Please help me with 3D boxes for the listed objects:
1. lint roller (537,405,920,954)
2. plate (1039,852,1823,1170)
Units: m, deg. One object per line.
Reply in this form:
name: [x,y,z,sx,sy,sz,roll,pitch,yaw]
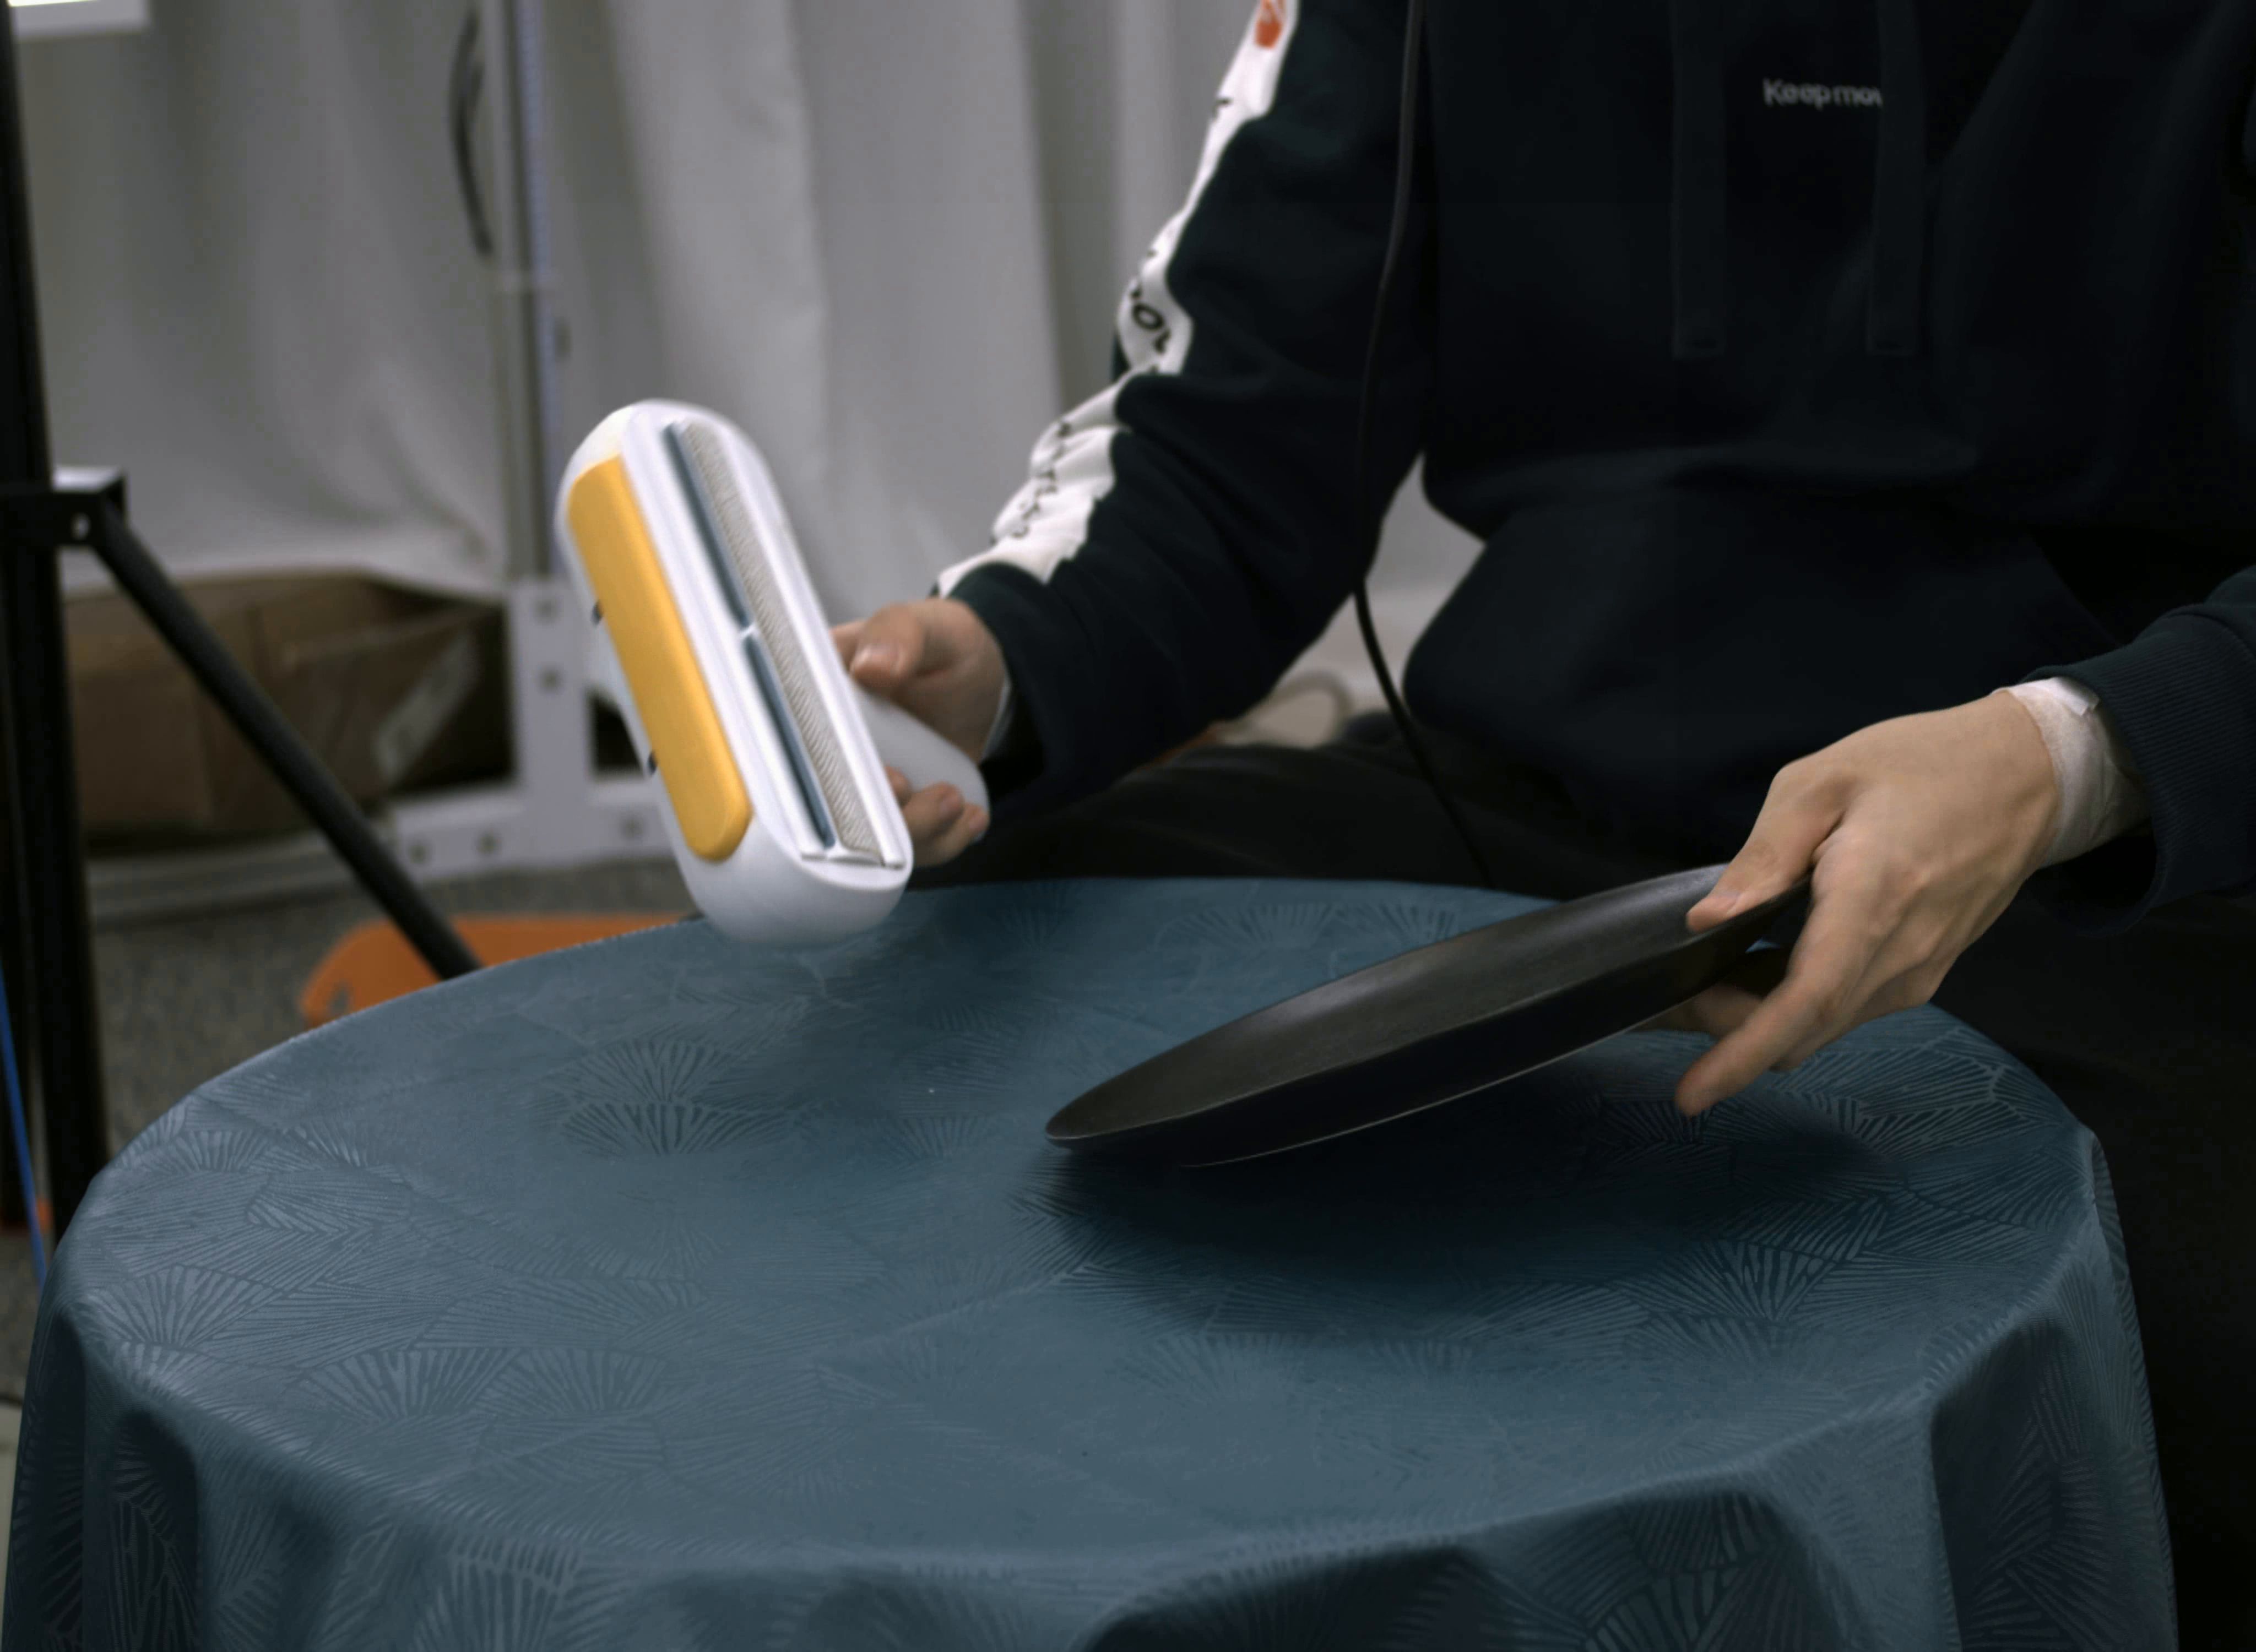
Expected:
lint roller: [-0.110,-0.022,1.723,0.074,0.196,0.188,-34,-36,15]
plate: [0.091,0.059,1.560,0.243,0.023,0.245,-20,4,0]
